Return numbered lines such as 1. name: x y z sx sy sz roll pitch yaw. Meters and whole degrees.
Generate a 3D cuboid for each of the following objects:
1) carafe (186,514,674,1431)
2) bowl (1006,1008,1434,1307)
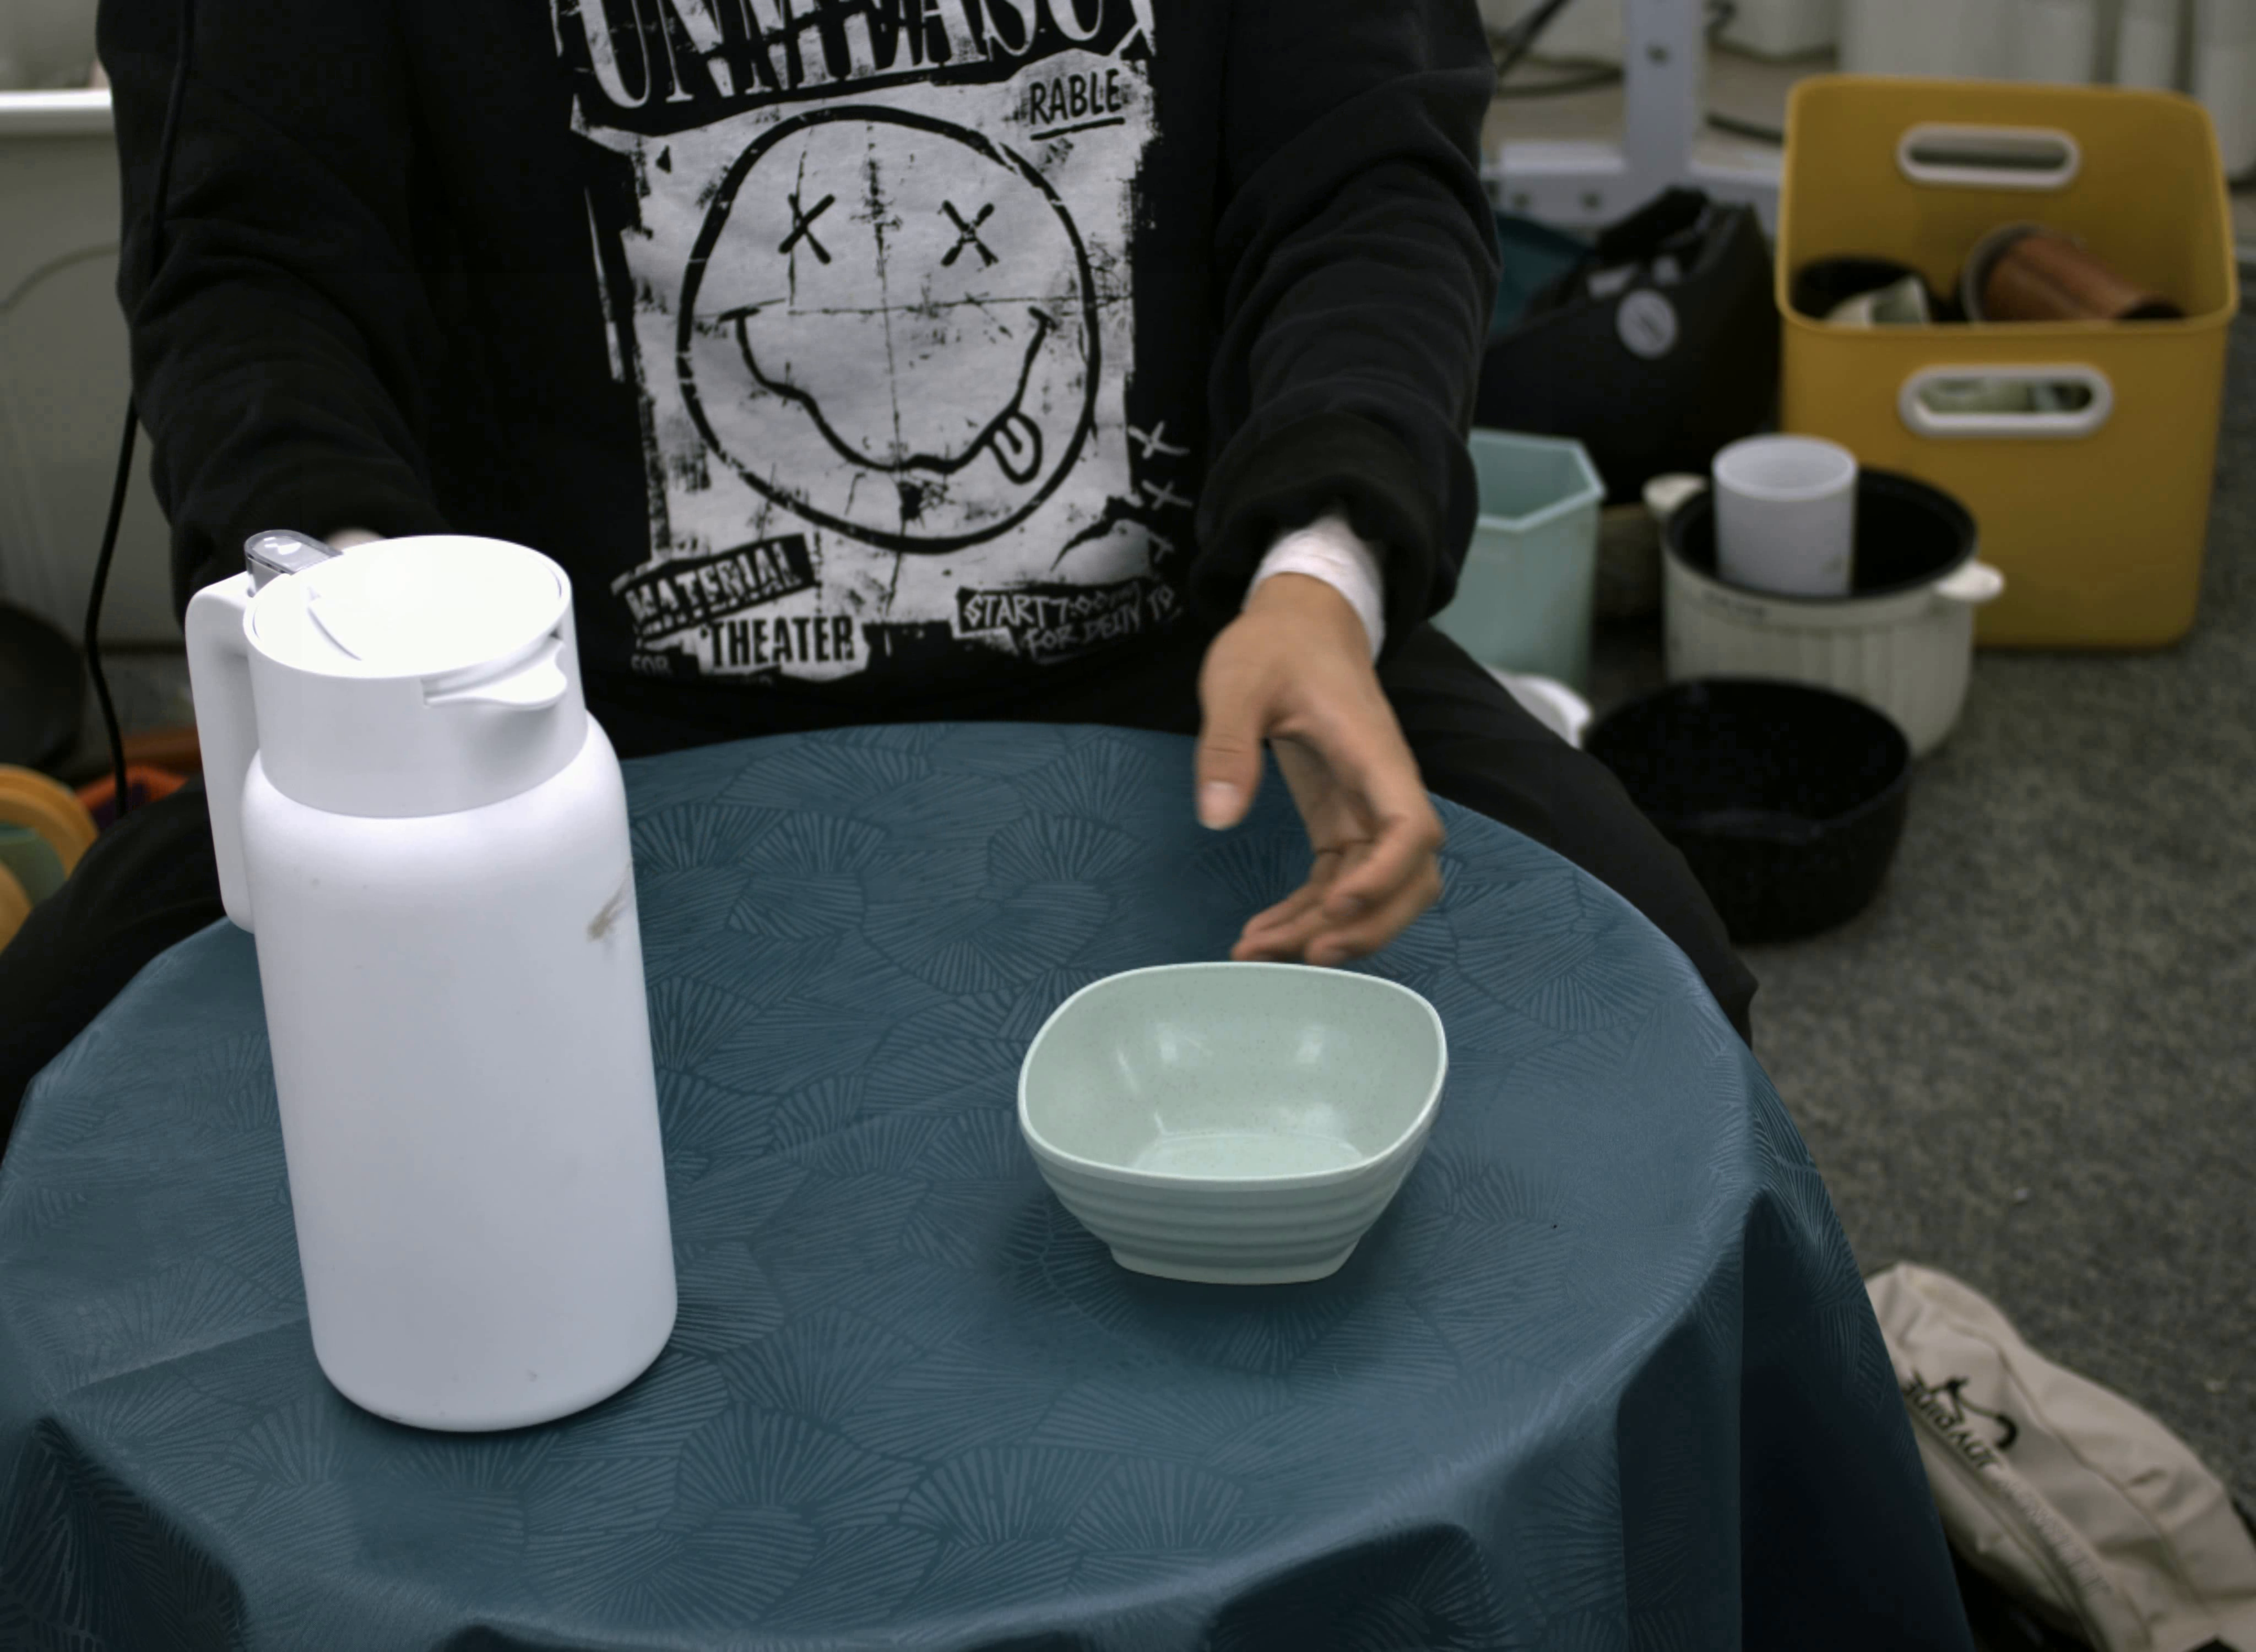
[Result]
1. carafe: -0.221 0.043 1.745 0.172 0.266 0.125 21 37 40
2. bowl: 0.031 0.113 1.830 0.151 0.058 0.153 -3 20 2
